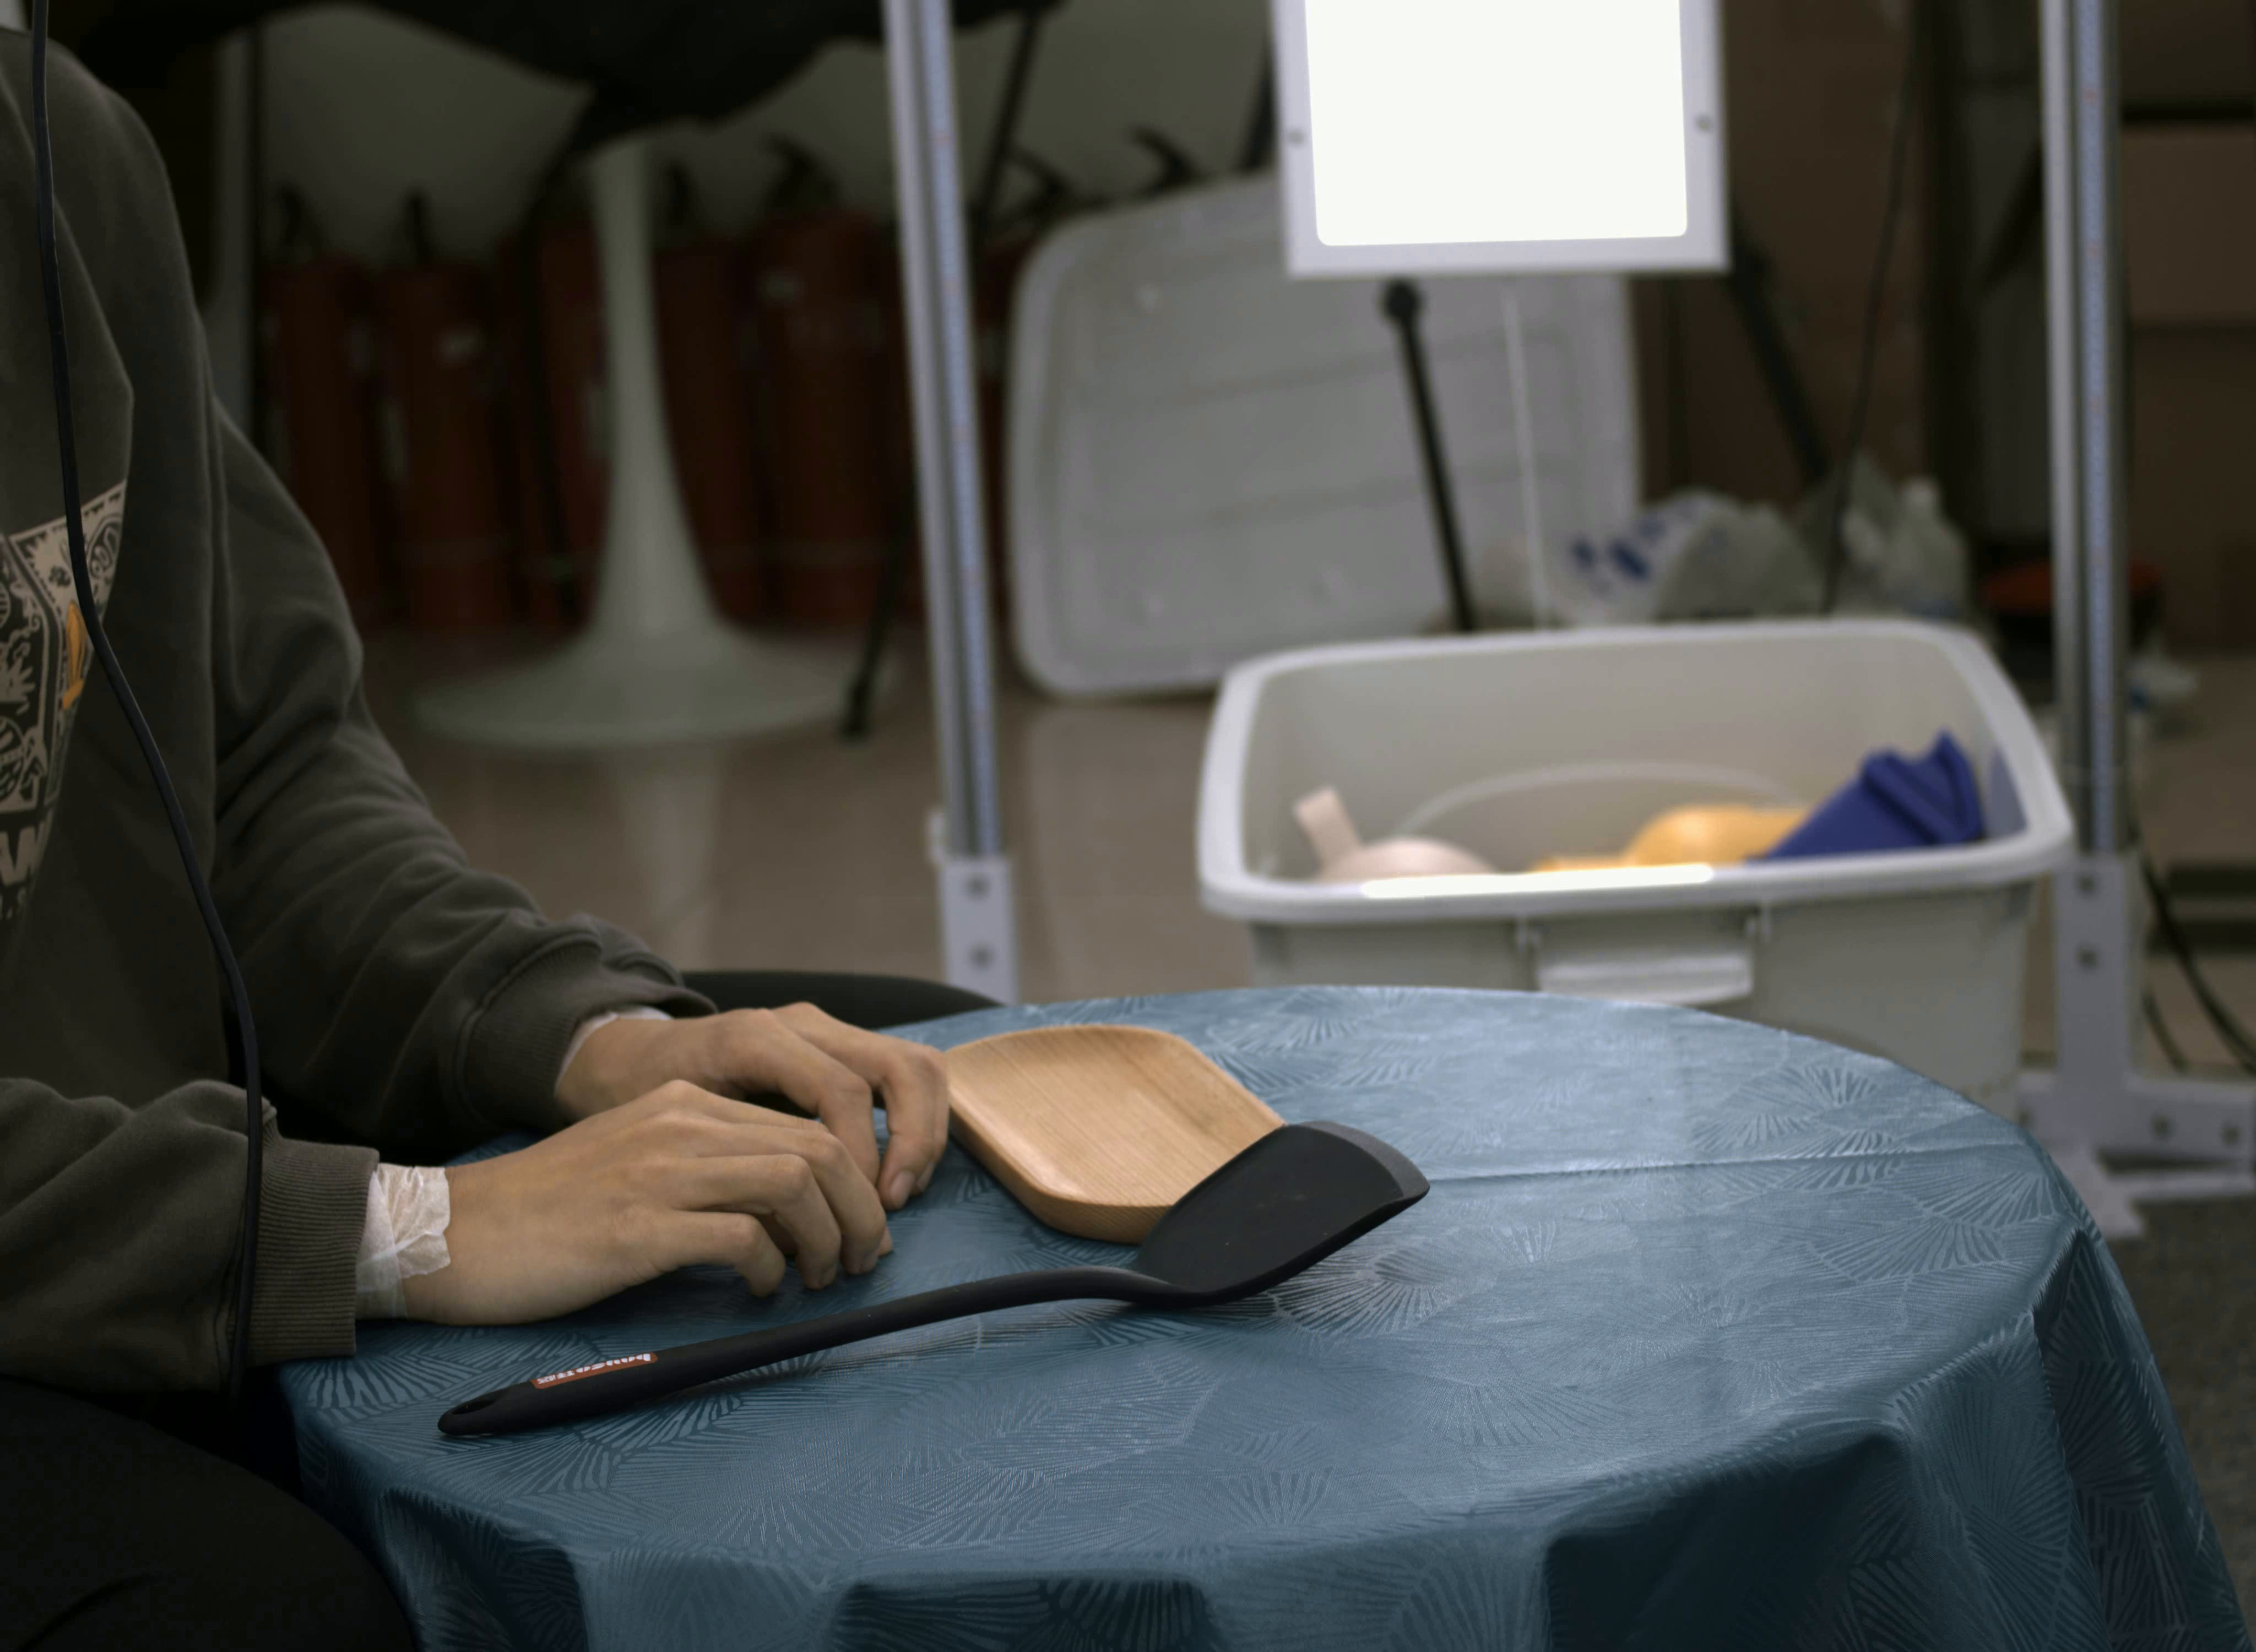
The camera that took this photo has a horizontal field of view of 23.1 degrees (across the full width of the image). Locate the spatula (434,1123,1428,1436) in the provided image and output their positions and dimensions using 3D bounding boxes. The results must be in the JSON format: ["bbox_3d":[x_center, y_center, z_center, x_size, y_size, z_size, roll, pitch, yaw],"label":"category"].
[{"bbox_3d":[-0.064,0.148,1.756,0.321,0.040,0.101,-9,13,-17],"label":"spatula"}]

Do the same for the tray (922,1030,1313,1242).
[{"bbox_3d":[-0.005,0.108,1.941,0.100,0.020,0.233,-9,15,-15],"label":"tray"}]
